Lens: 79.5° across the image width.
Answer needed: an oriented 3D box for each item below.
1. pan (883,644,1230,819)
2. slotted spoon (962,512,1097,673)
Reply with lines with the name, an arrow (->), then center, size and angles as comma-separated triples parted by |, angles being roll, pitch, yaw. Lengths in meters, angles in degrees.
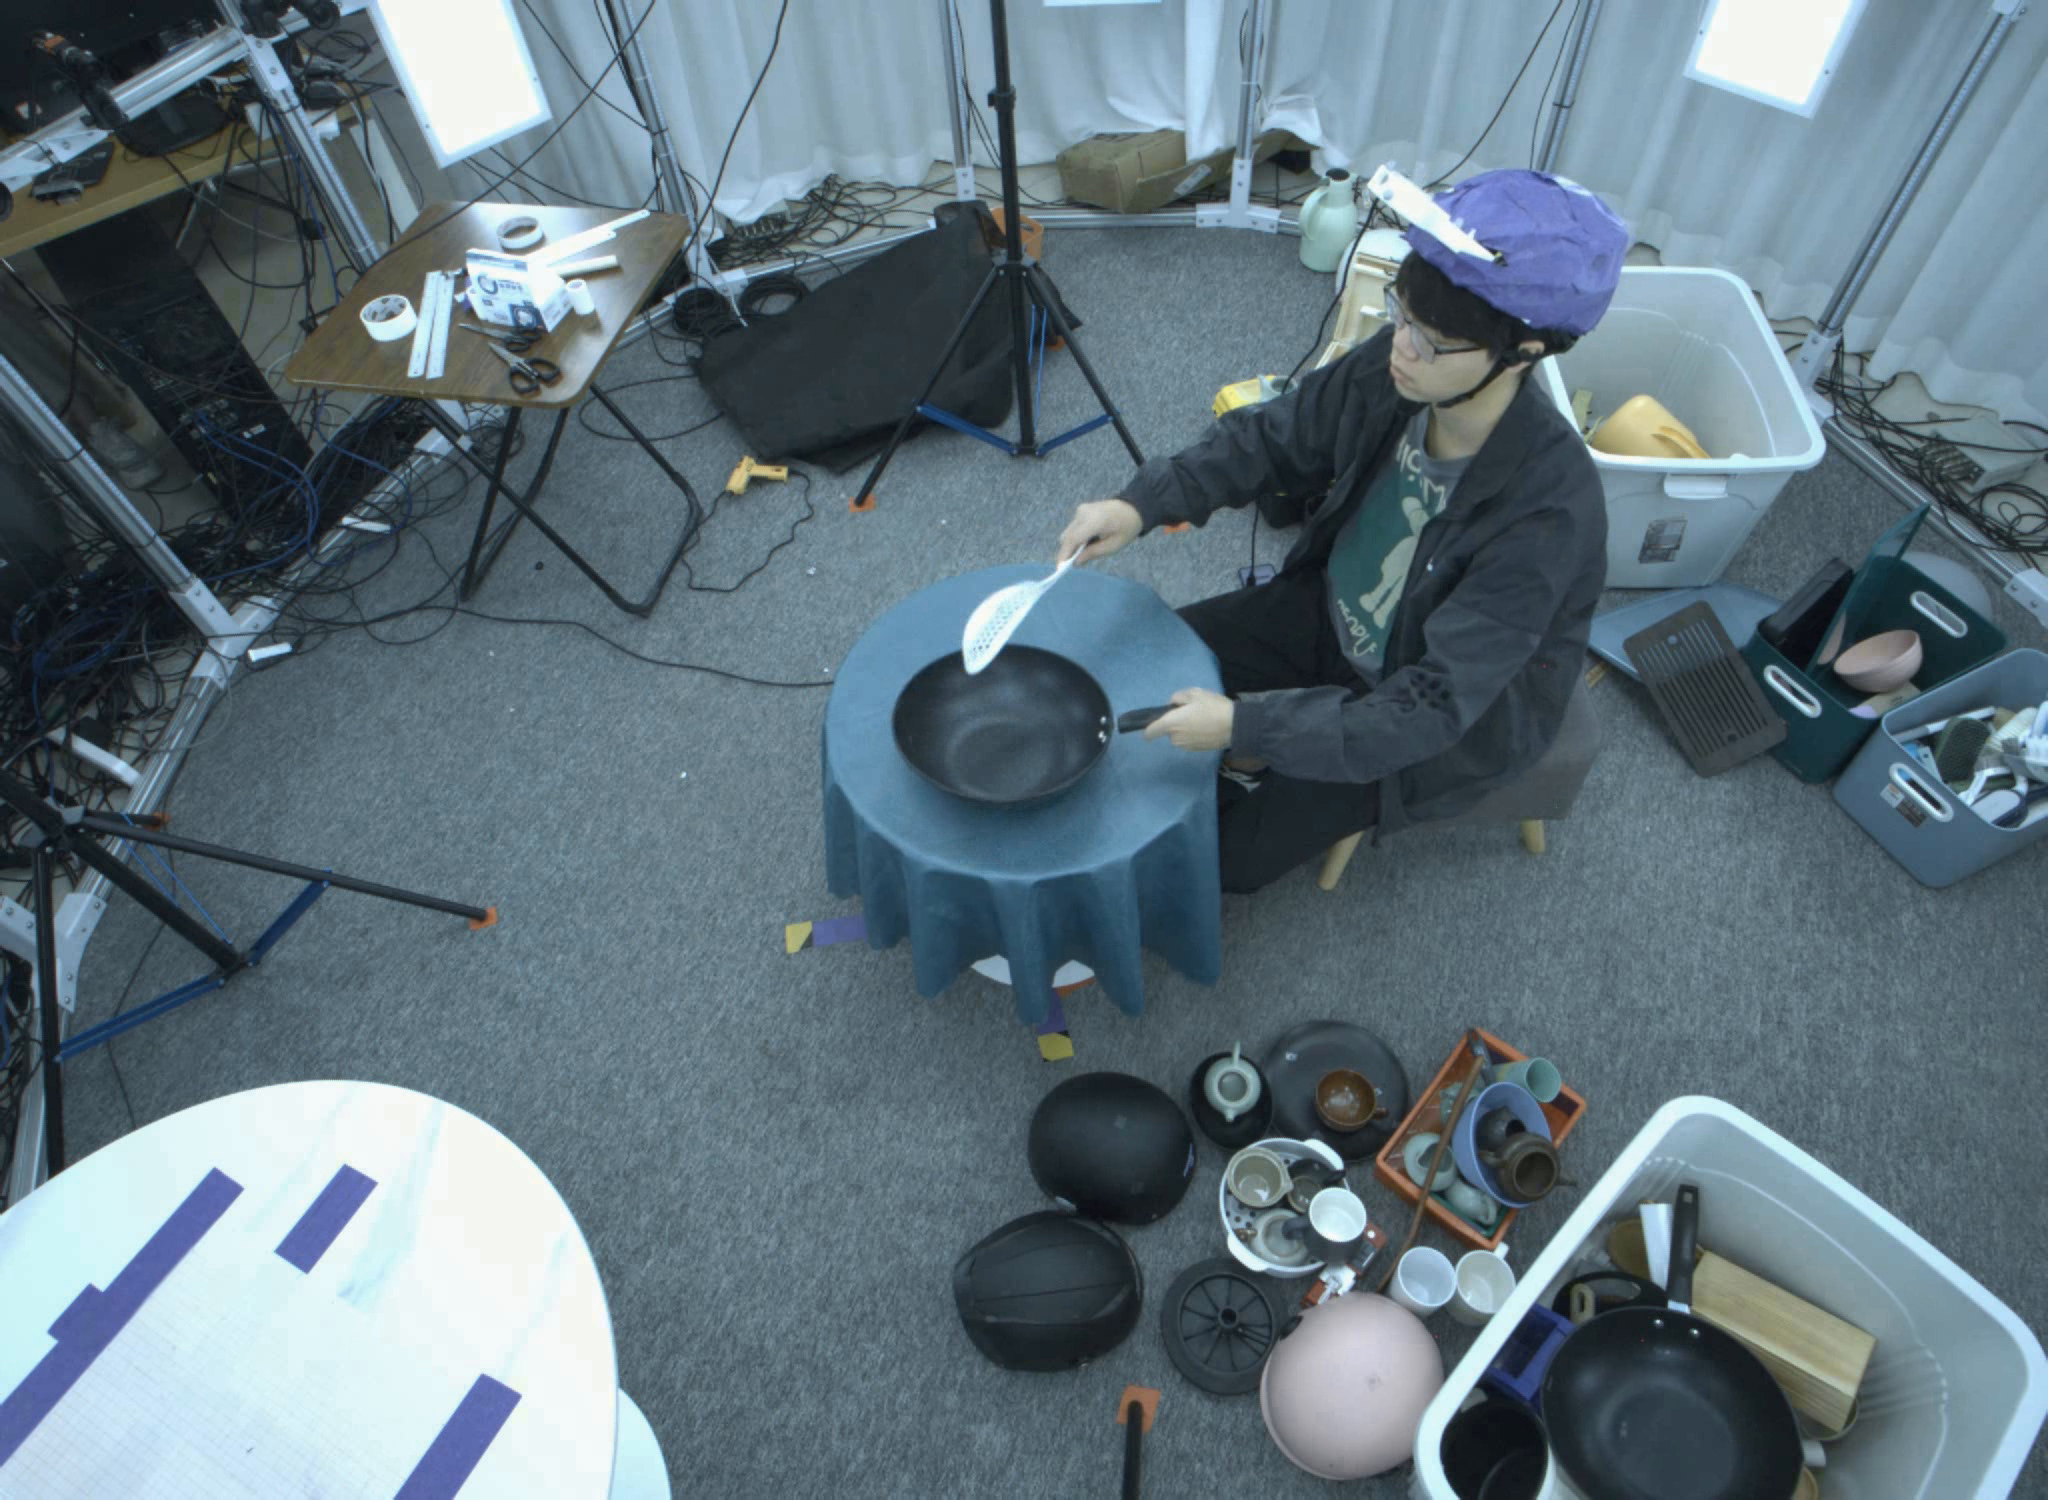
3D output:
pan -> 0.045, -0.021, 1.723 | 0.477, 0.113, 0.307 | 0, 50, -1
slotted spoon -> 0.015, -0.237, 1.729 | 0.050, 0.137, 0.351 | 37, 54, 16
